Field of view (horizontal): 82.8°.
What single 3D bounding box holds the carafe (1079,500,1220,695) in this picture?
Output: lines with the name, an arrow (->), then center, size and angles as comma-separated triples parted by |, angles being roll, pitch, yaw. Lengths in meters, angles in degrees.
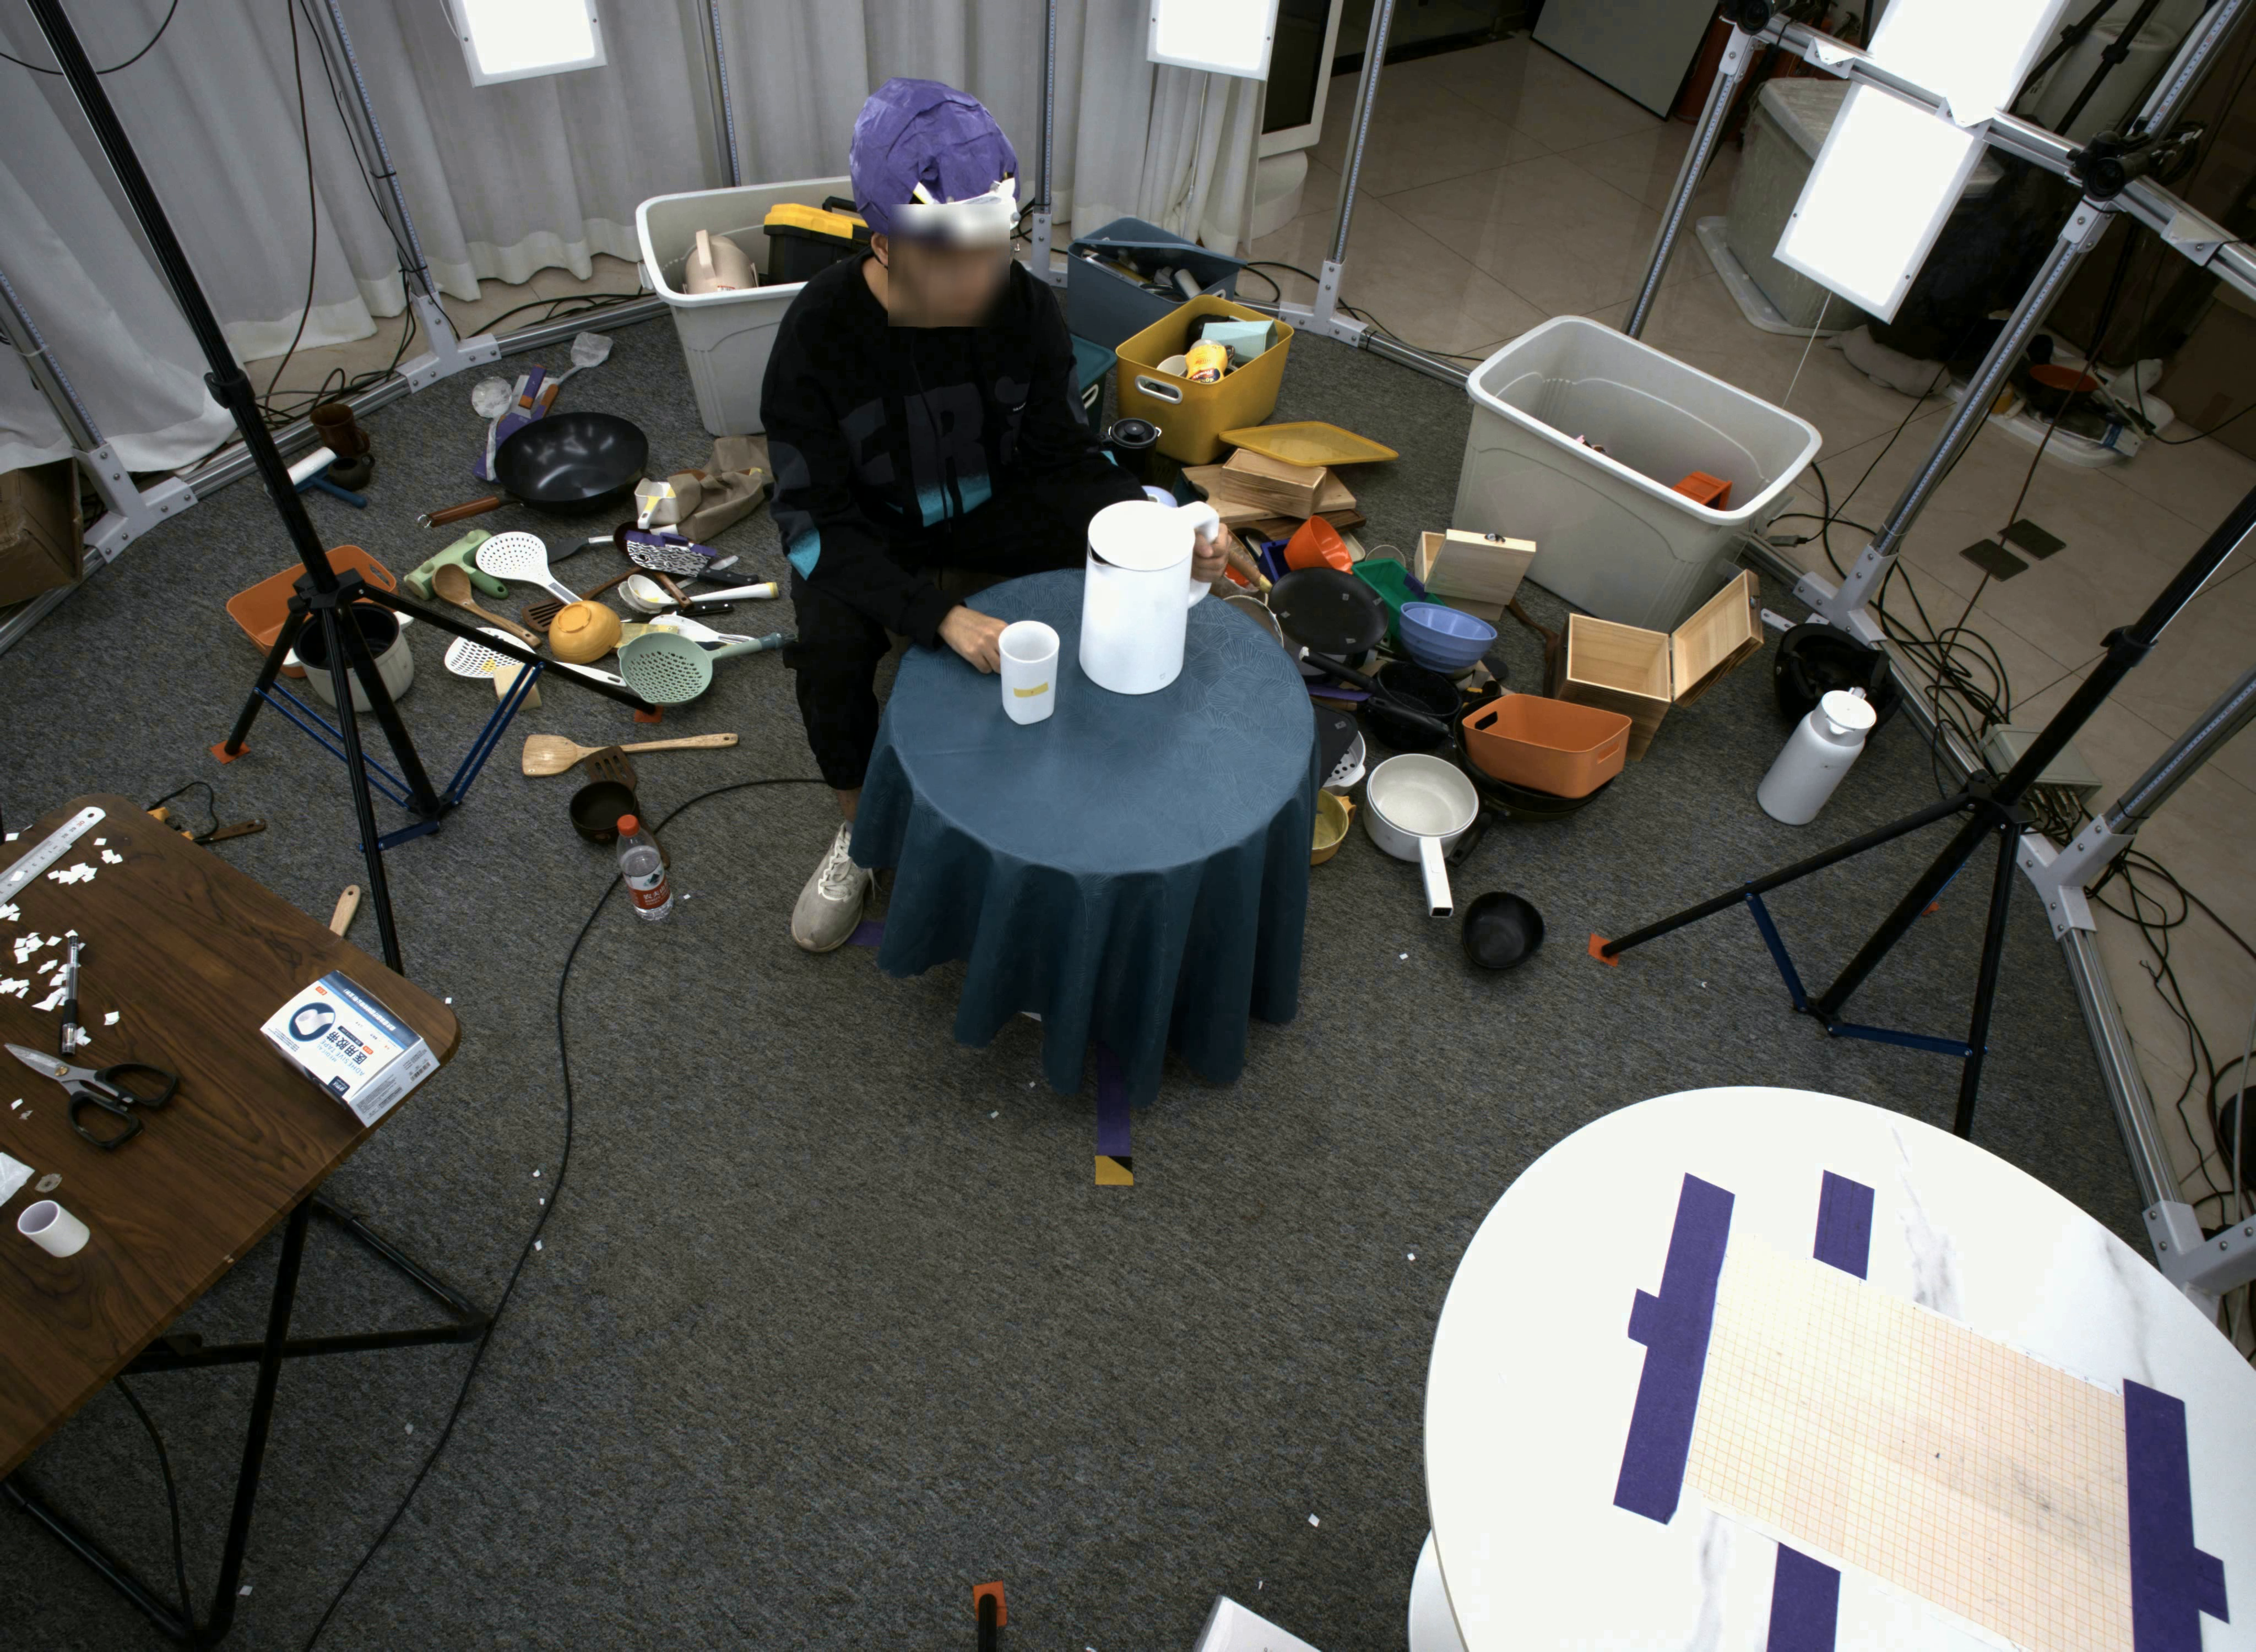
carafe -> 0.033, -0.329, 1.805 | 0.214, 0.234, 0.155 | -29, 58, -24

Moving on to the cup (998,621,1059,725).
cup -> -0.135, -0.207, 1.758 | 0.081, 0.122, 0.084 | 2, 49, -2
